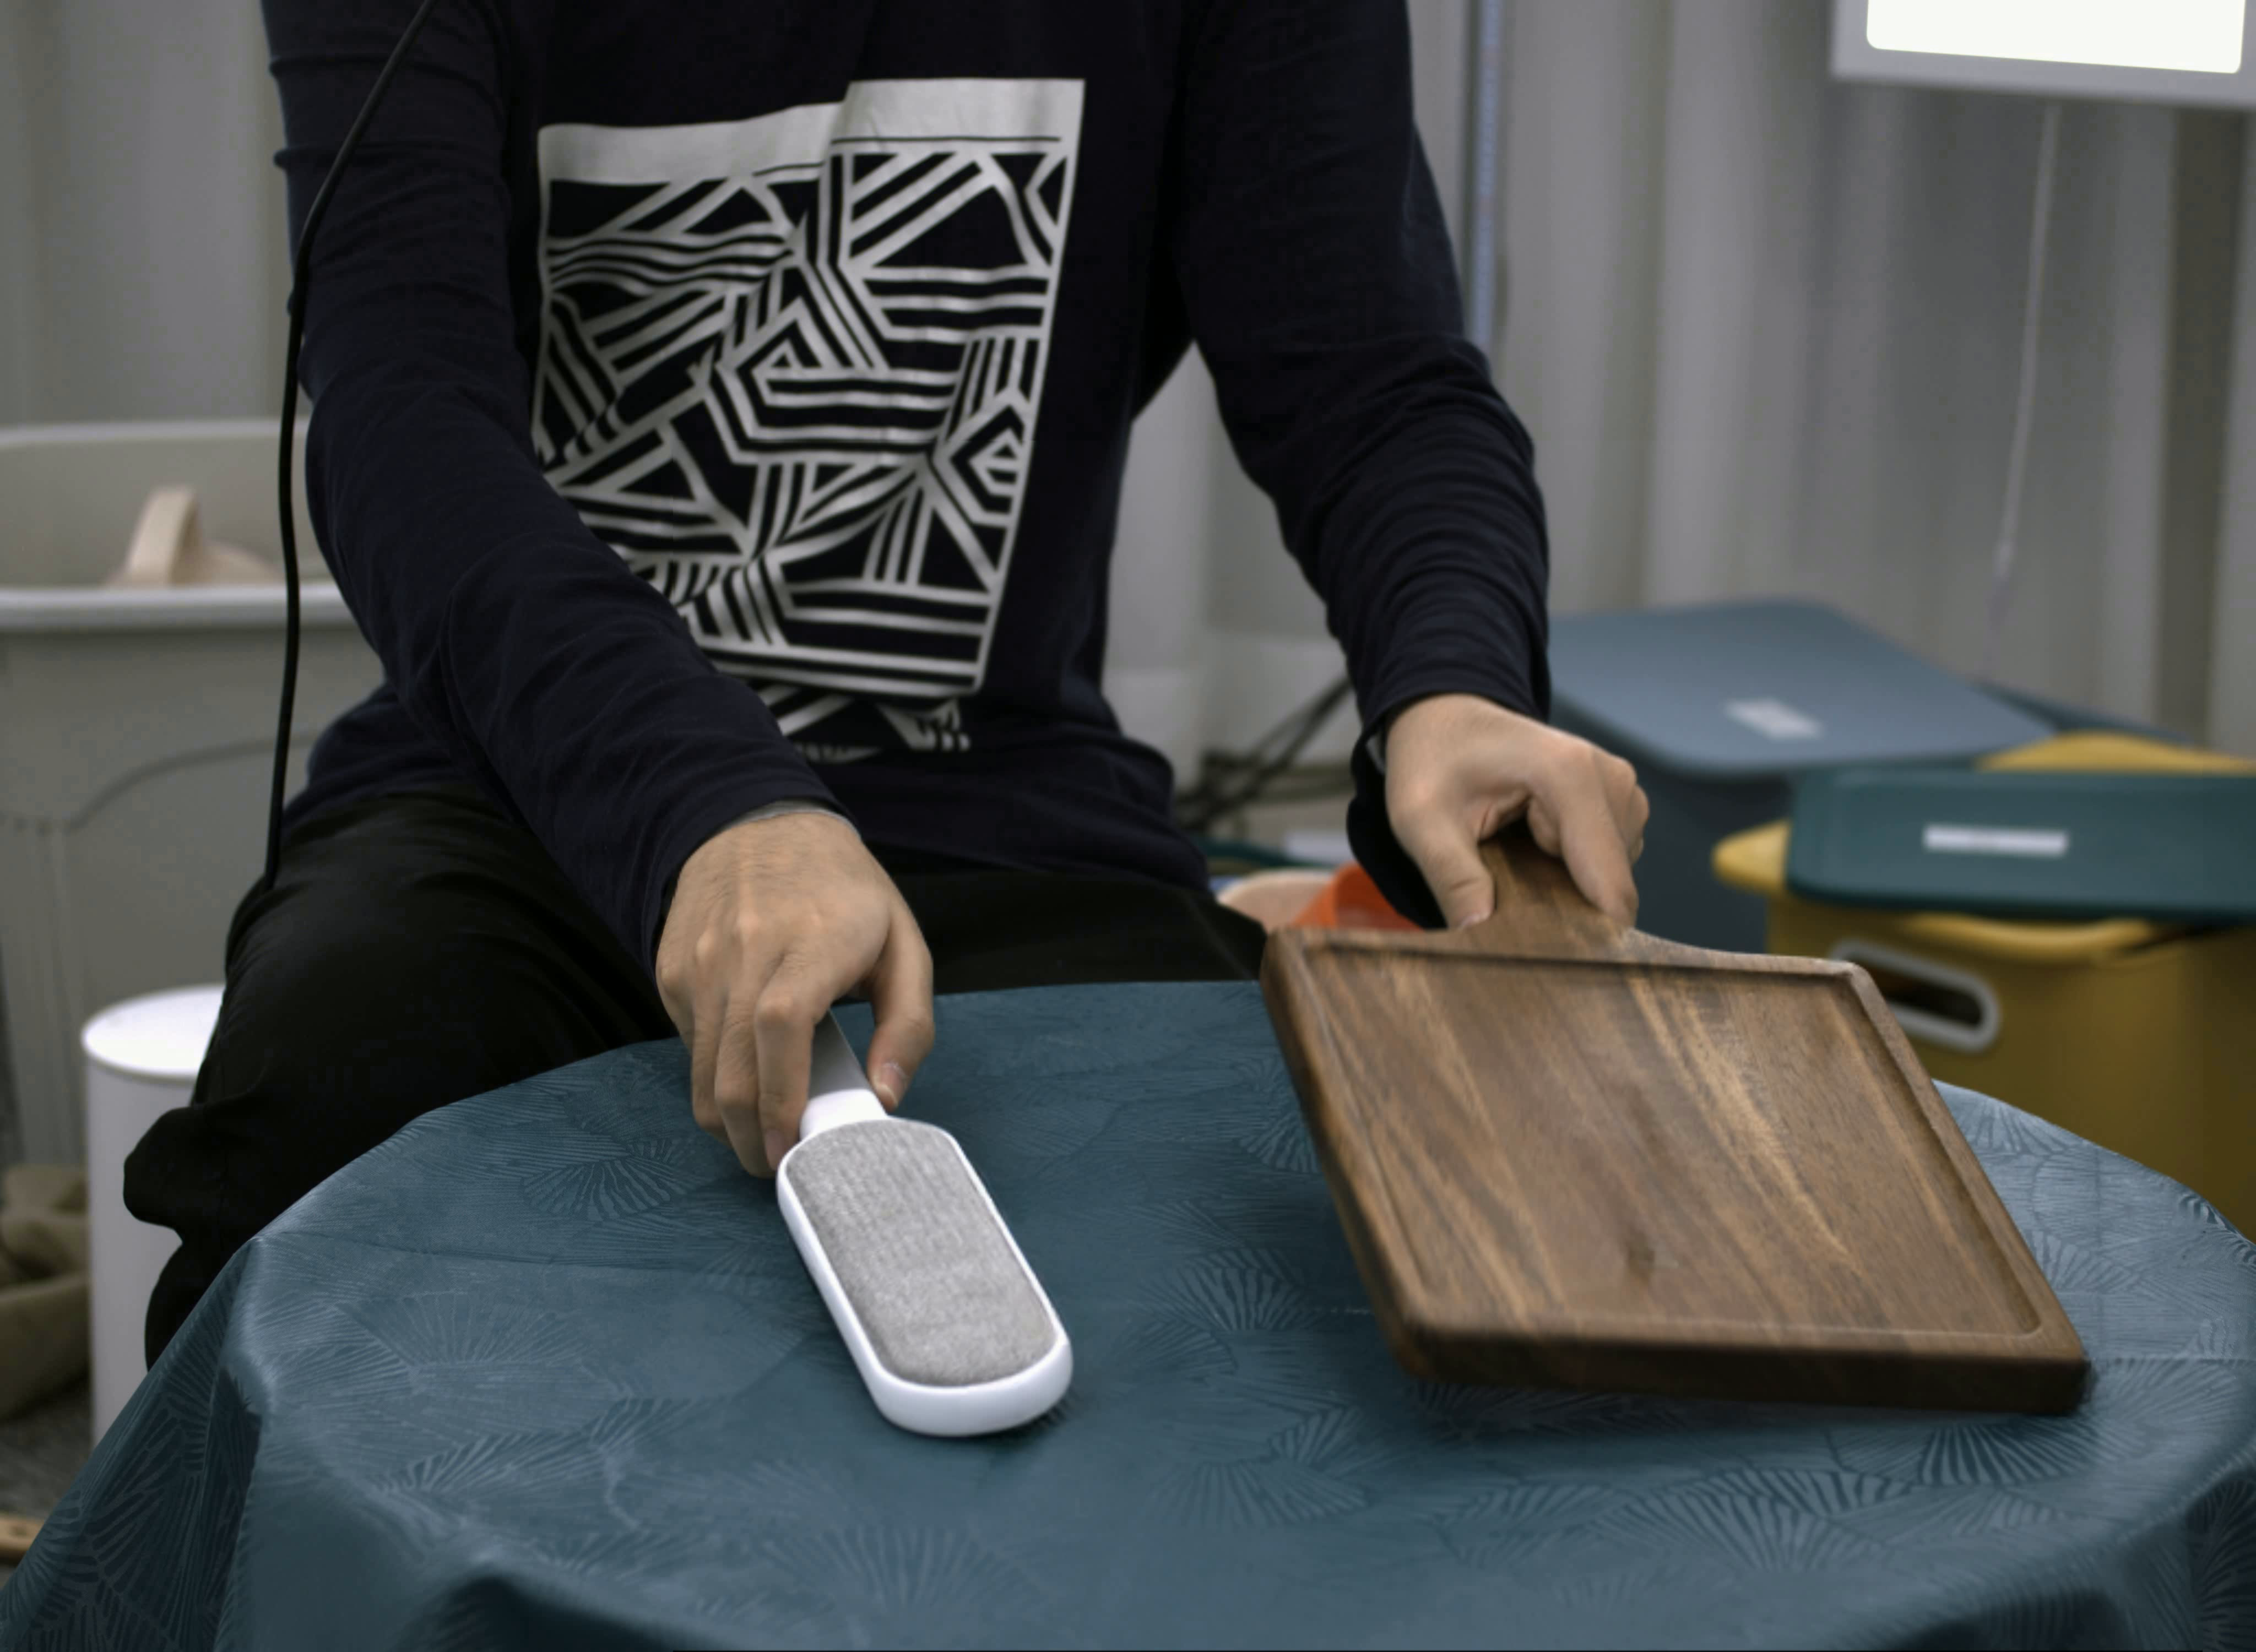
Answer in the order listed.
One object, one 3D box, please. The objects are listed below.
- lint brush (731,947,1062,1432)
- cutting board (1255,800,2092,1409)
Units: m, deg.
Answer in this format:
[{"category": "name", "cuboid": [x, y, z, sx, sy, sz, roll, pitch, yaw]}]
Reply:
[{"category": "lint brush", "cuboid": [-0.077, 0.100, 1.554, 0.060, 0.021, 0.305, -18, 25, -8]}, {"category": "cutting board", "cuboid": [0.146, 0.073, 1.586, 0.201, 0.023, 0.348, 5, 24, -11]}]
